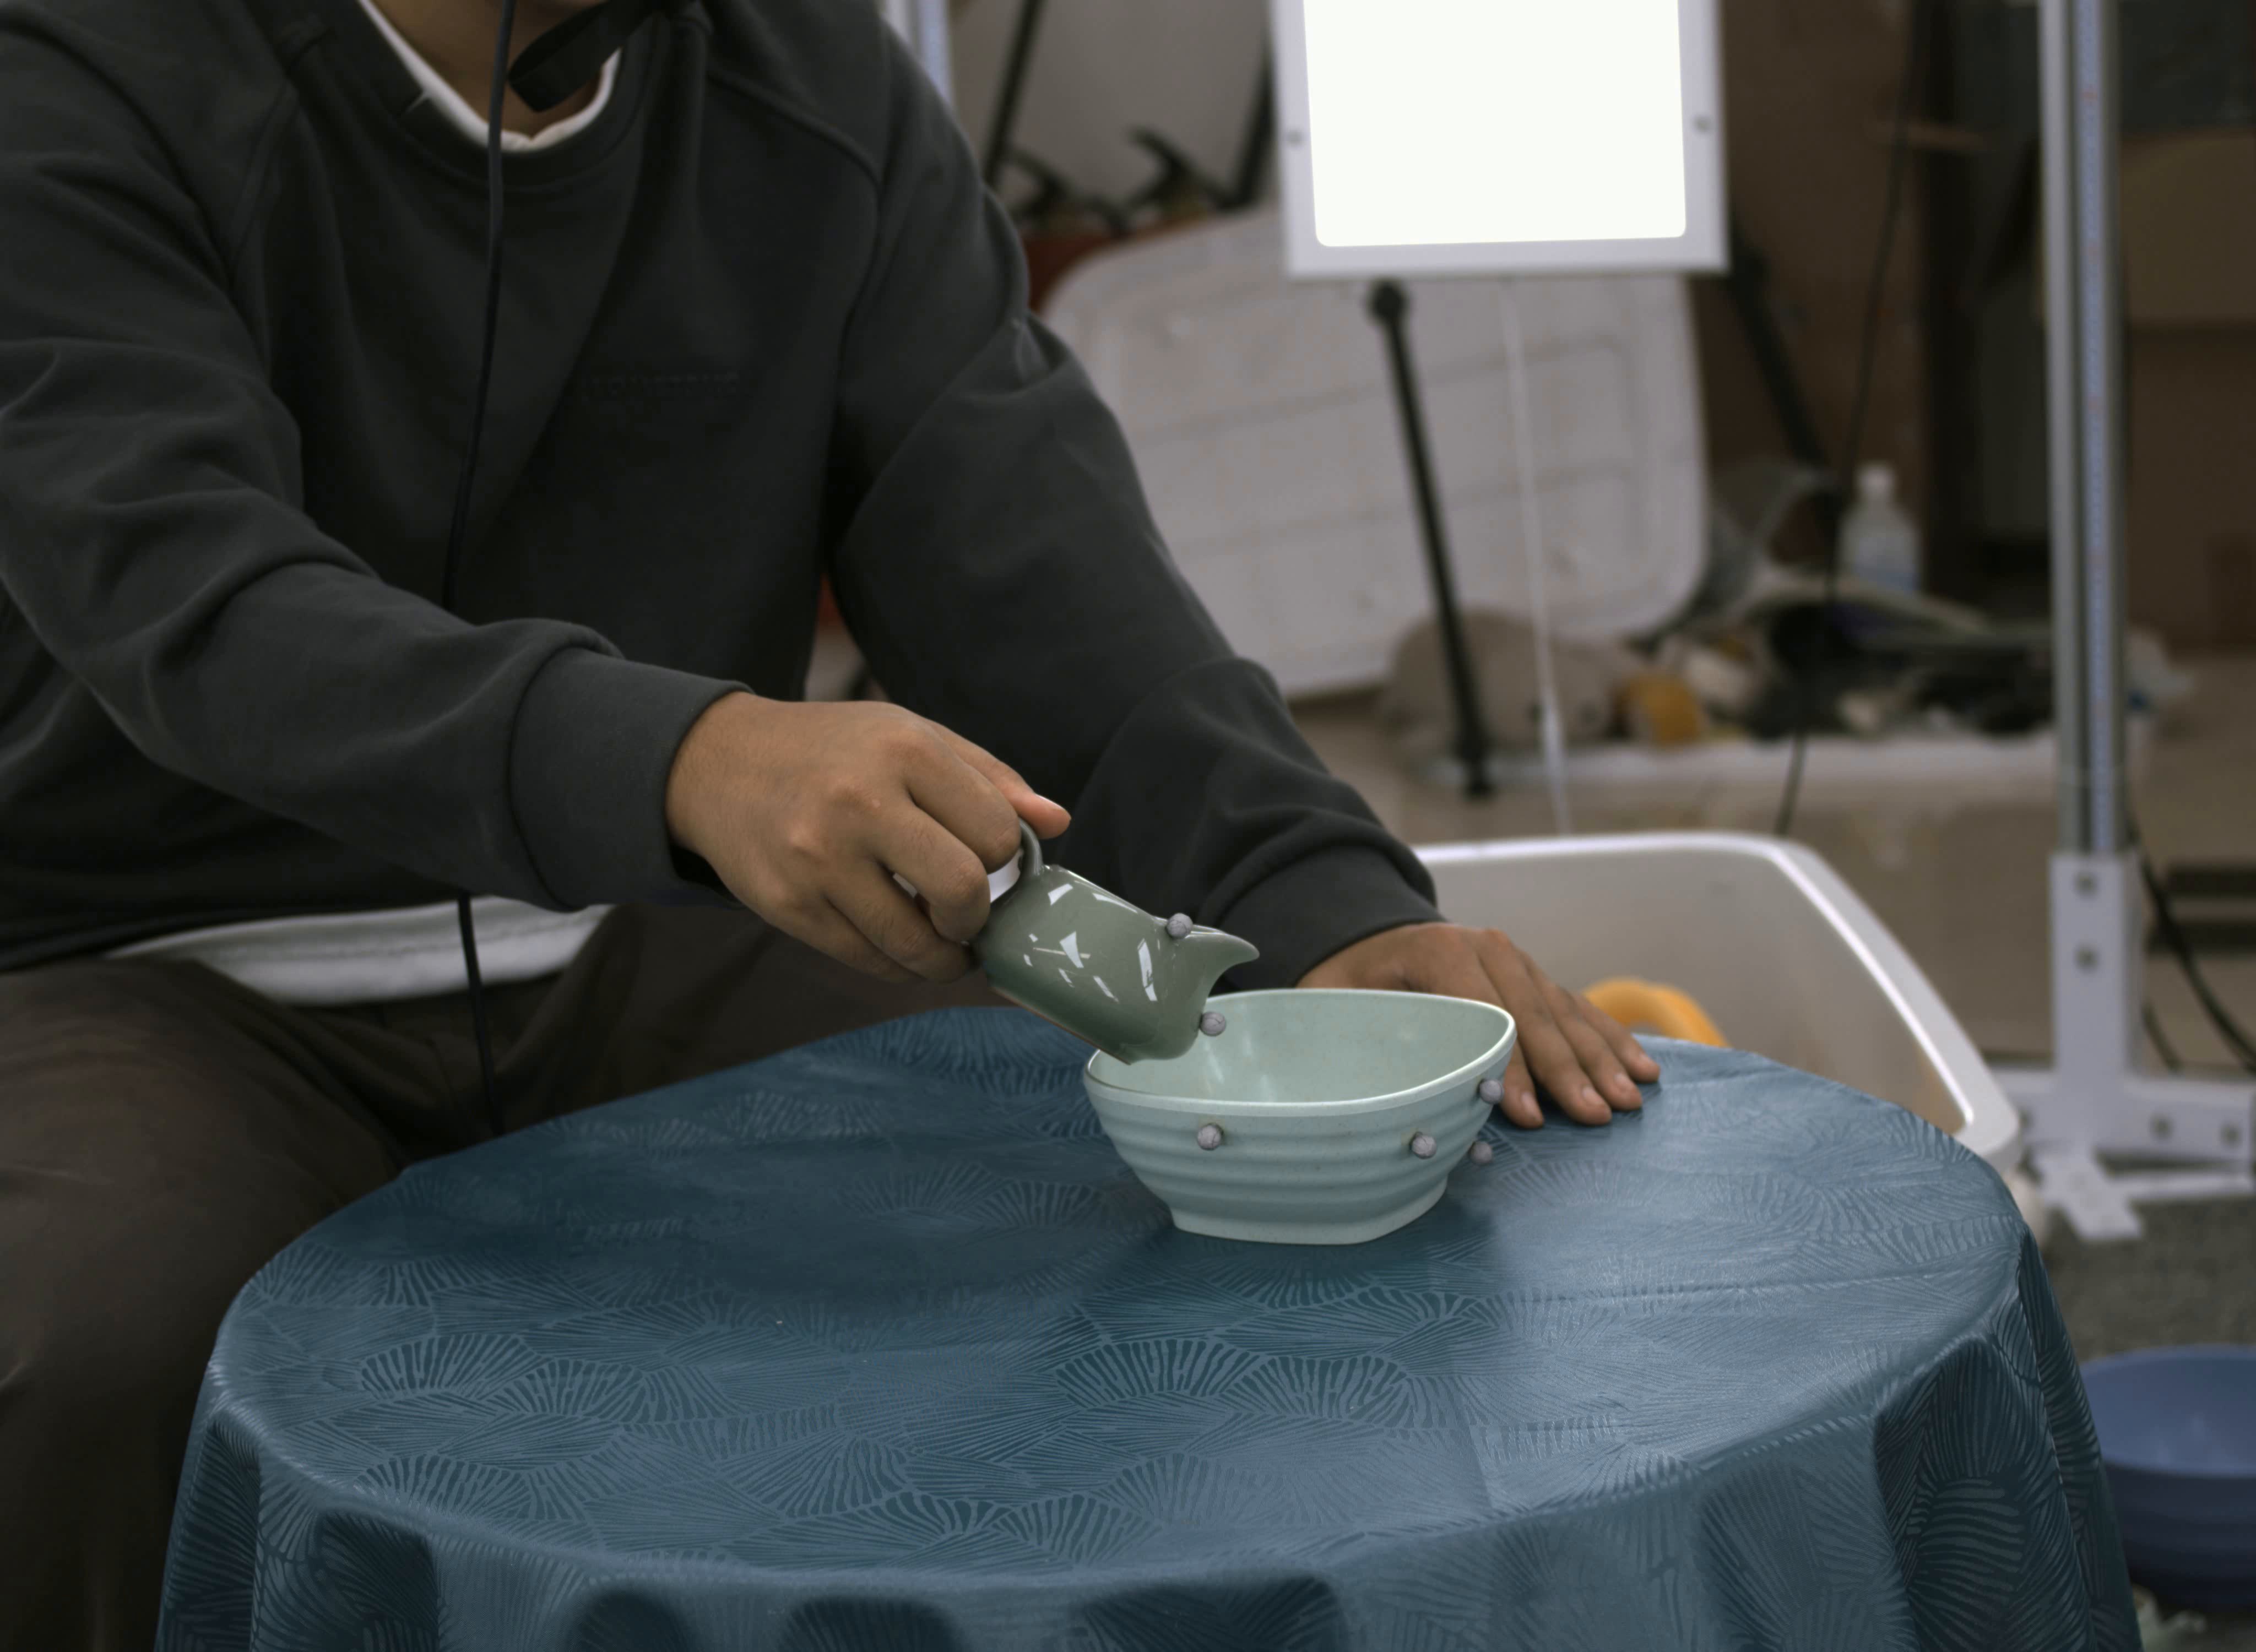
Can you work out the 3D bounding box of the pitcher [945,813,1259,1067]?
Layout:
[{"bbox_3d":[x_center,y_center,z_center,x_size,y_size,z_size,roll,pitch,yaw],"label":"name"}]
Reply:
[{"bbox_3d":[-0.016,0.041,1.826,0.111,0.056,0.085,27,-1,-15],"label":"pitcher"}]

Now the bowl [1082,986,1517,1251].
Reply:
[{"bbox_3d":[0.060,0.102,1.862,0.151,0.059,0.151,-4,15,0],"label":"bowl"}]
